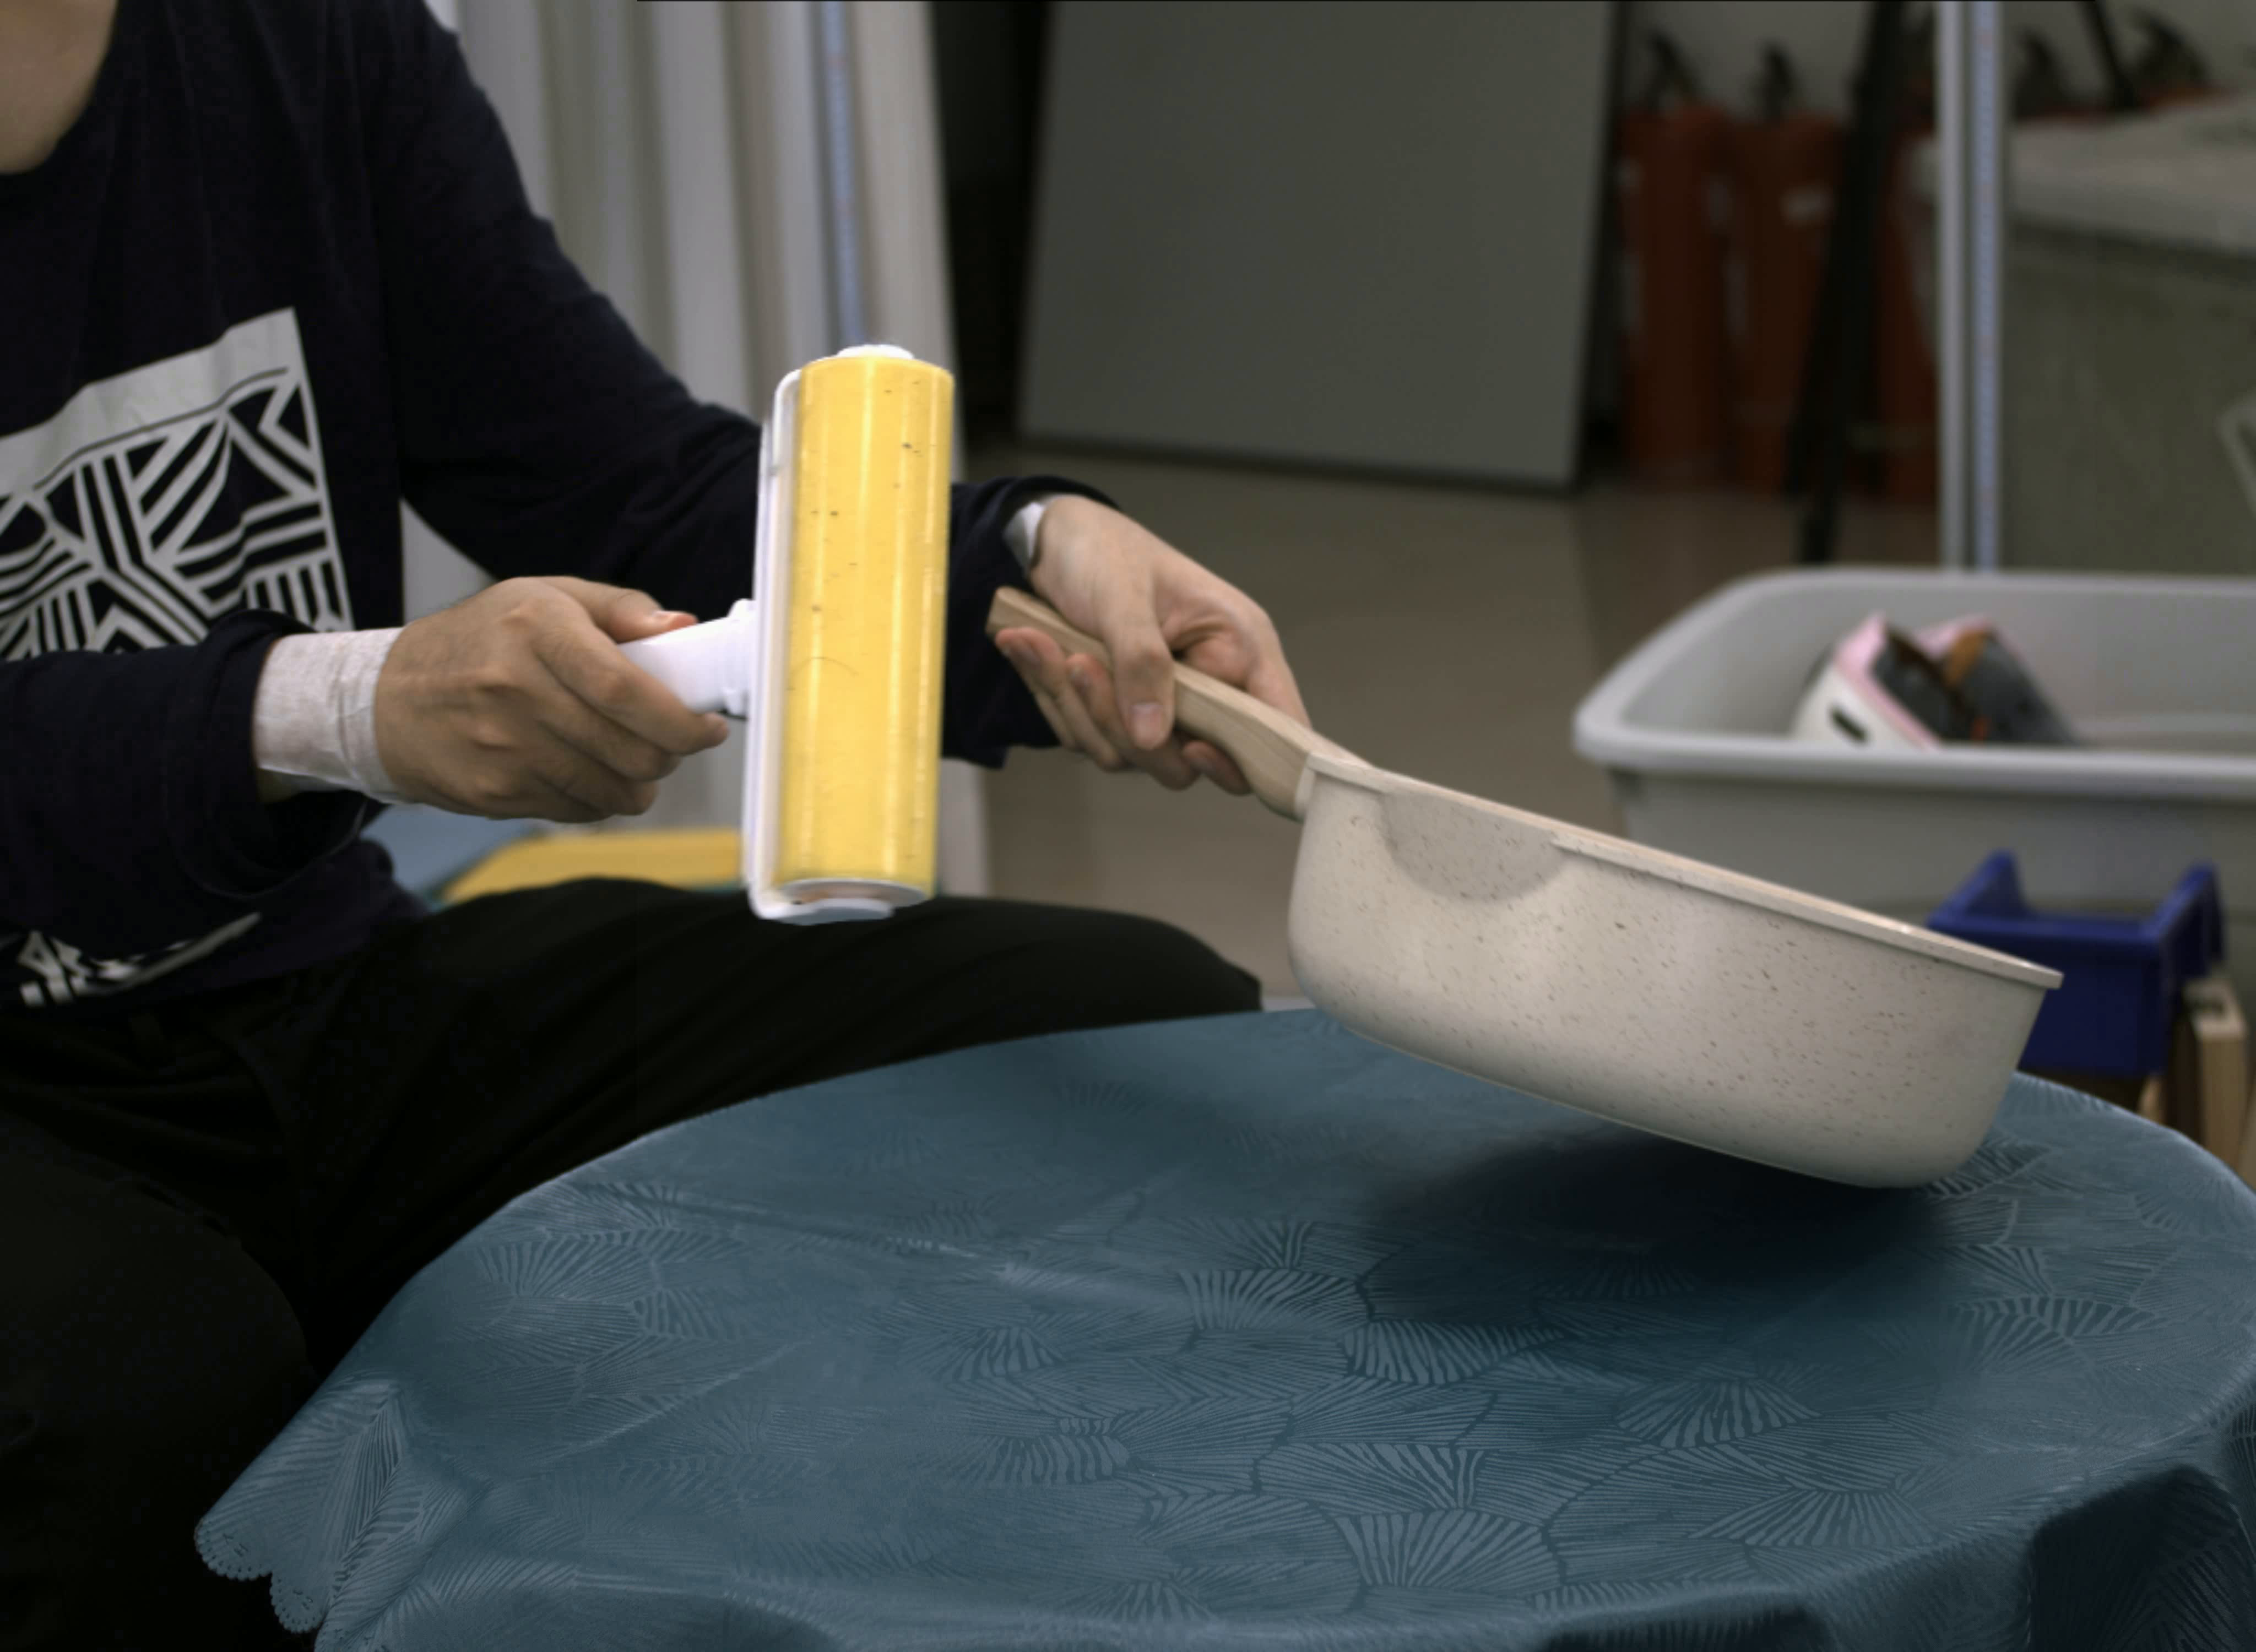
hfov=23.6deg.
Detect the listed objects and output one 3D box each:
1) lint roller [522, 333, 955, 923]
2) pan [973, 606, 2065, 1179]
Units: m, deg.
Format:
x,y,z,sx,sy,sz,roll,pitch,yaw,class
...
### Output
x,y,z,sx,sy,sz,roll,pitch,yaw,class
-0.130,-0.050,1.660,0.193,0.176,0.050,-10,-17,39,lint roller
0.101,0.020,1.772,0.439,0.103,0.258,17,3,41,pan
